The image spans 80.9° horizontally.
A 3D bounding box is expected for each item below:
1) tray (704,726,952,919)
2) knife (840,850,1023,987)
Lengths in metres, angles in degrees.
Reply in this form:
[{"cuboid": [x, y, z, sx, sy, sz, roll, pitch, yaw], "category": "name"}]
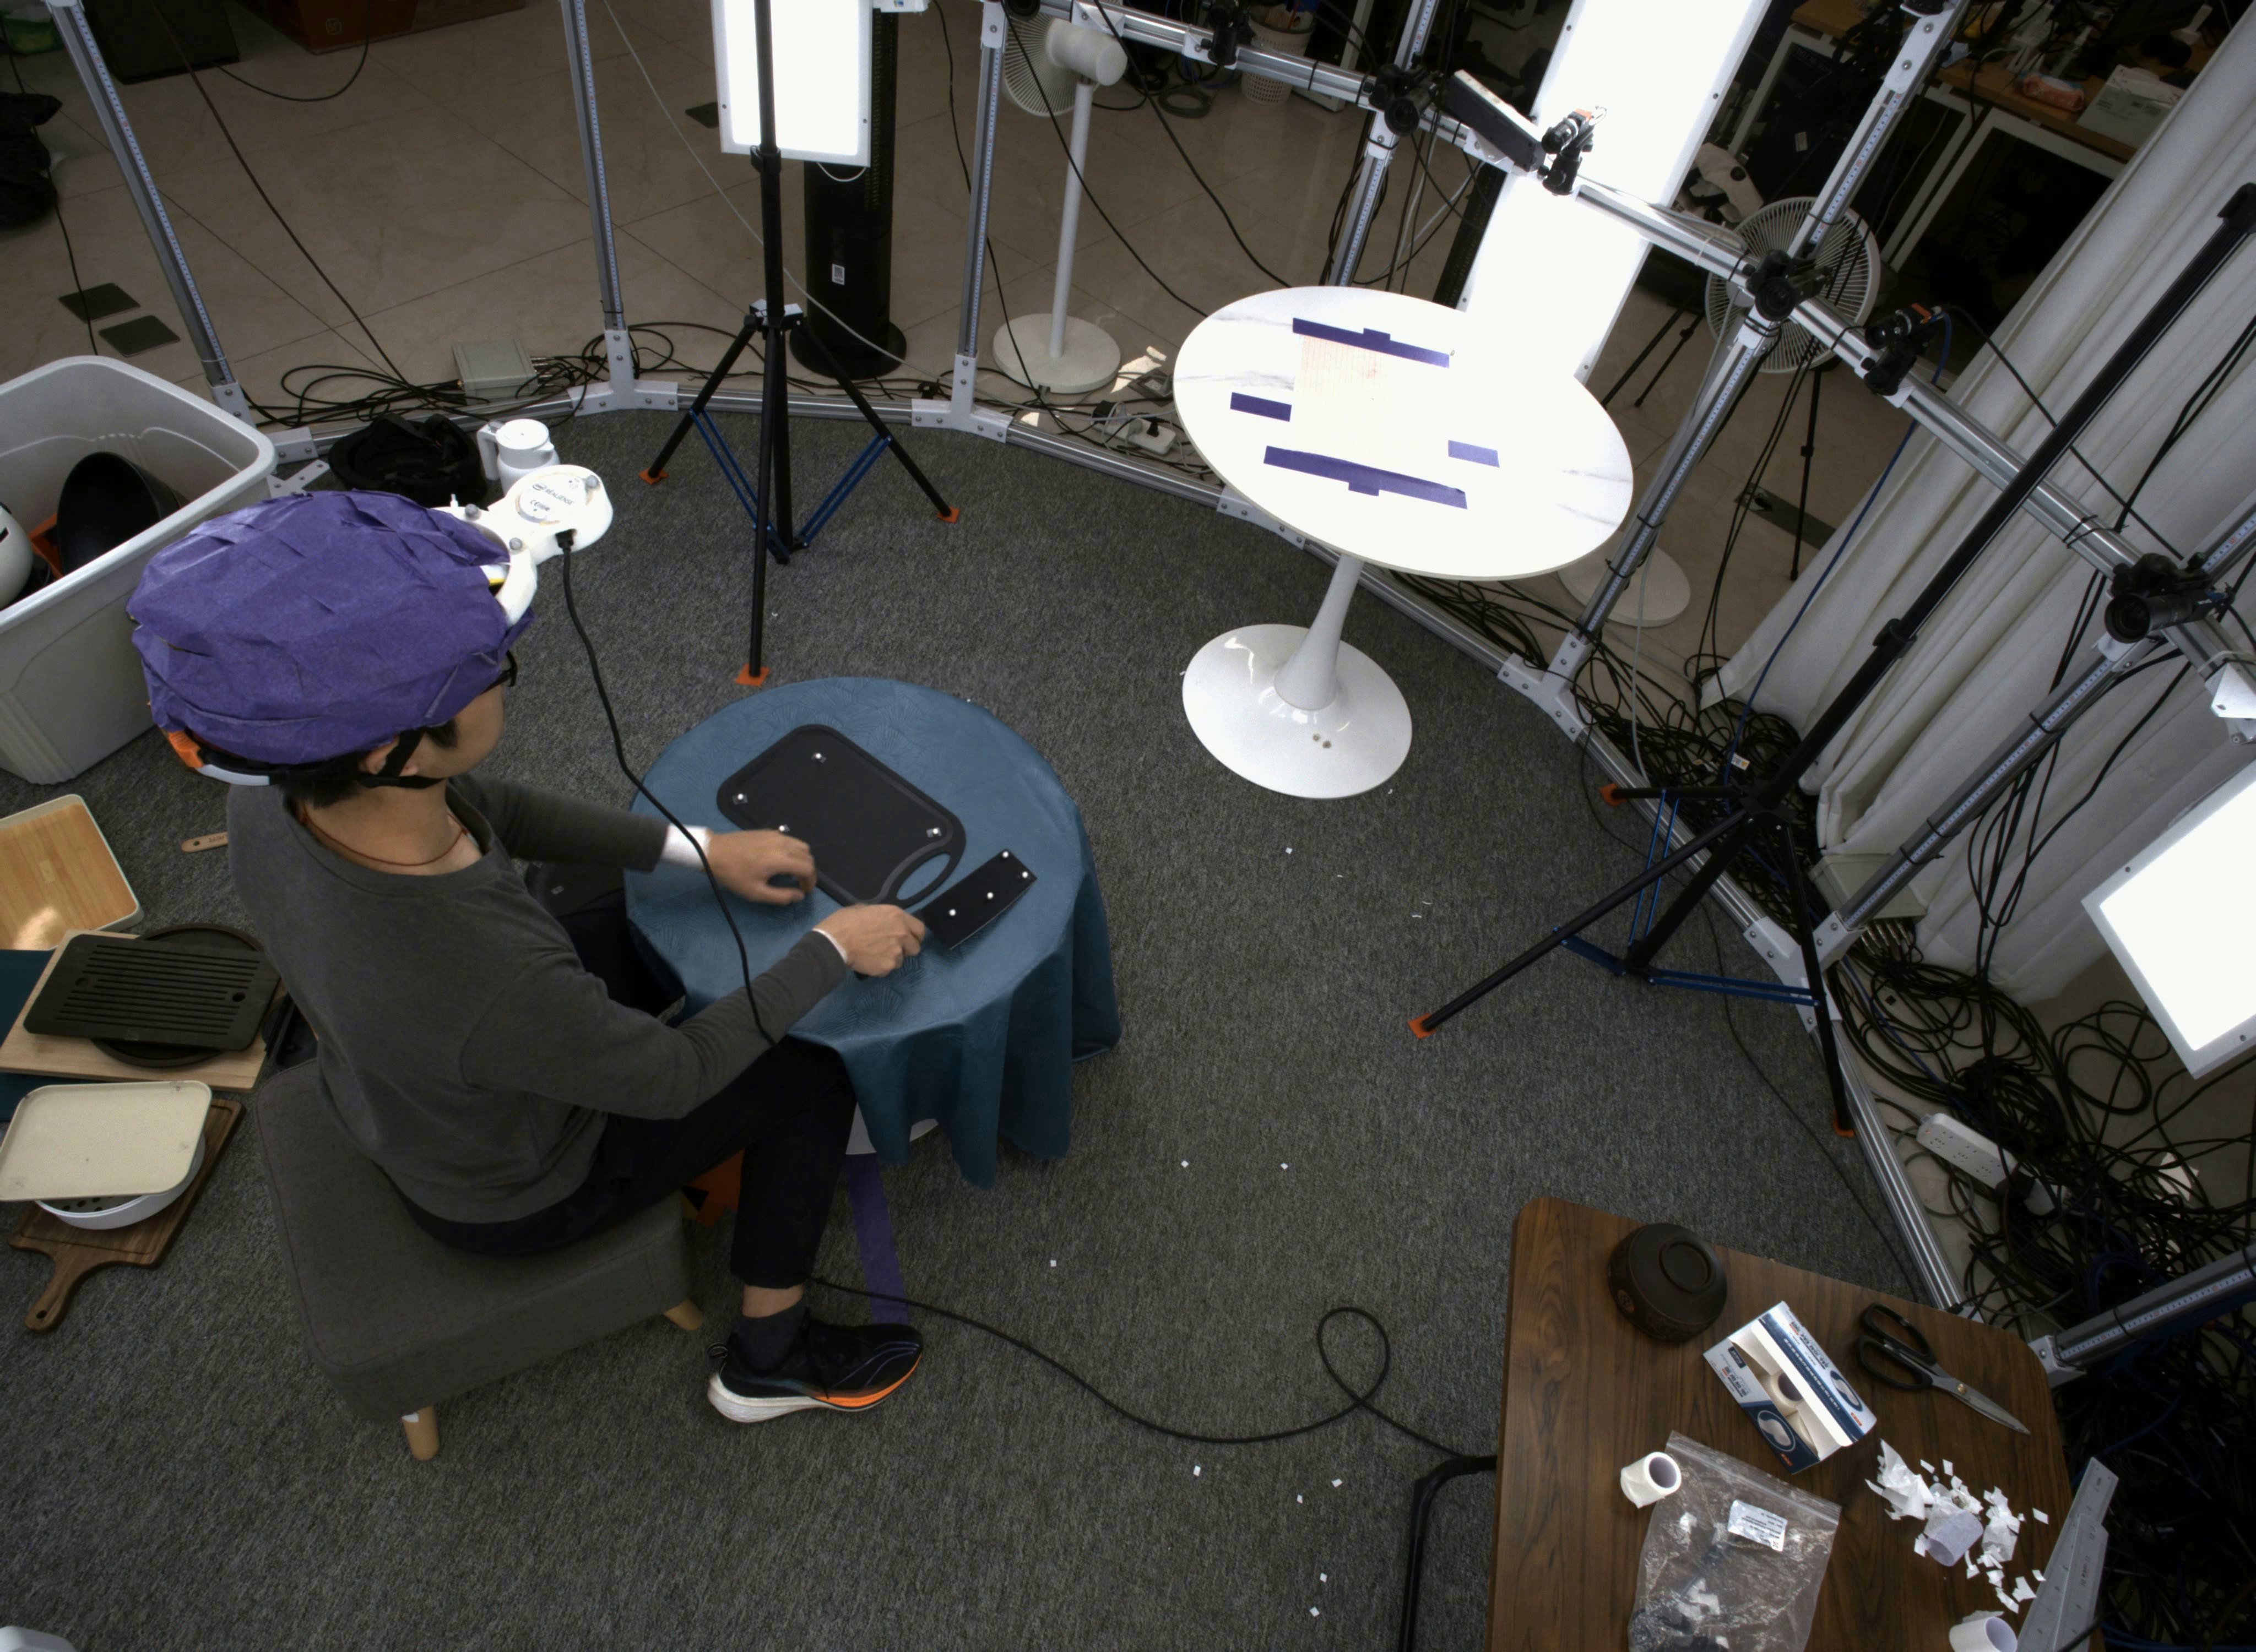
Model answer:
[{"cuboid": [-0.396, -0.009, 1.745, 0.319, 0.010, 0.211, 35, 54, 12], "category": "tray"}, {"cuboid": [-0.249, 0.117, 1.661, 0.079, 0.021, 0.303, 44, 47, 14], "category": "knife"}]
